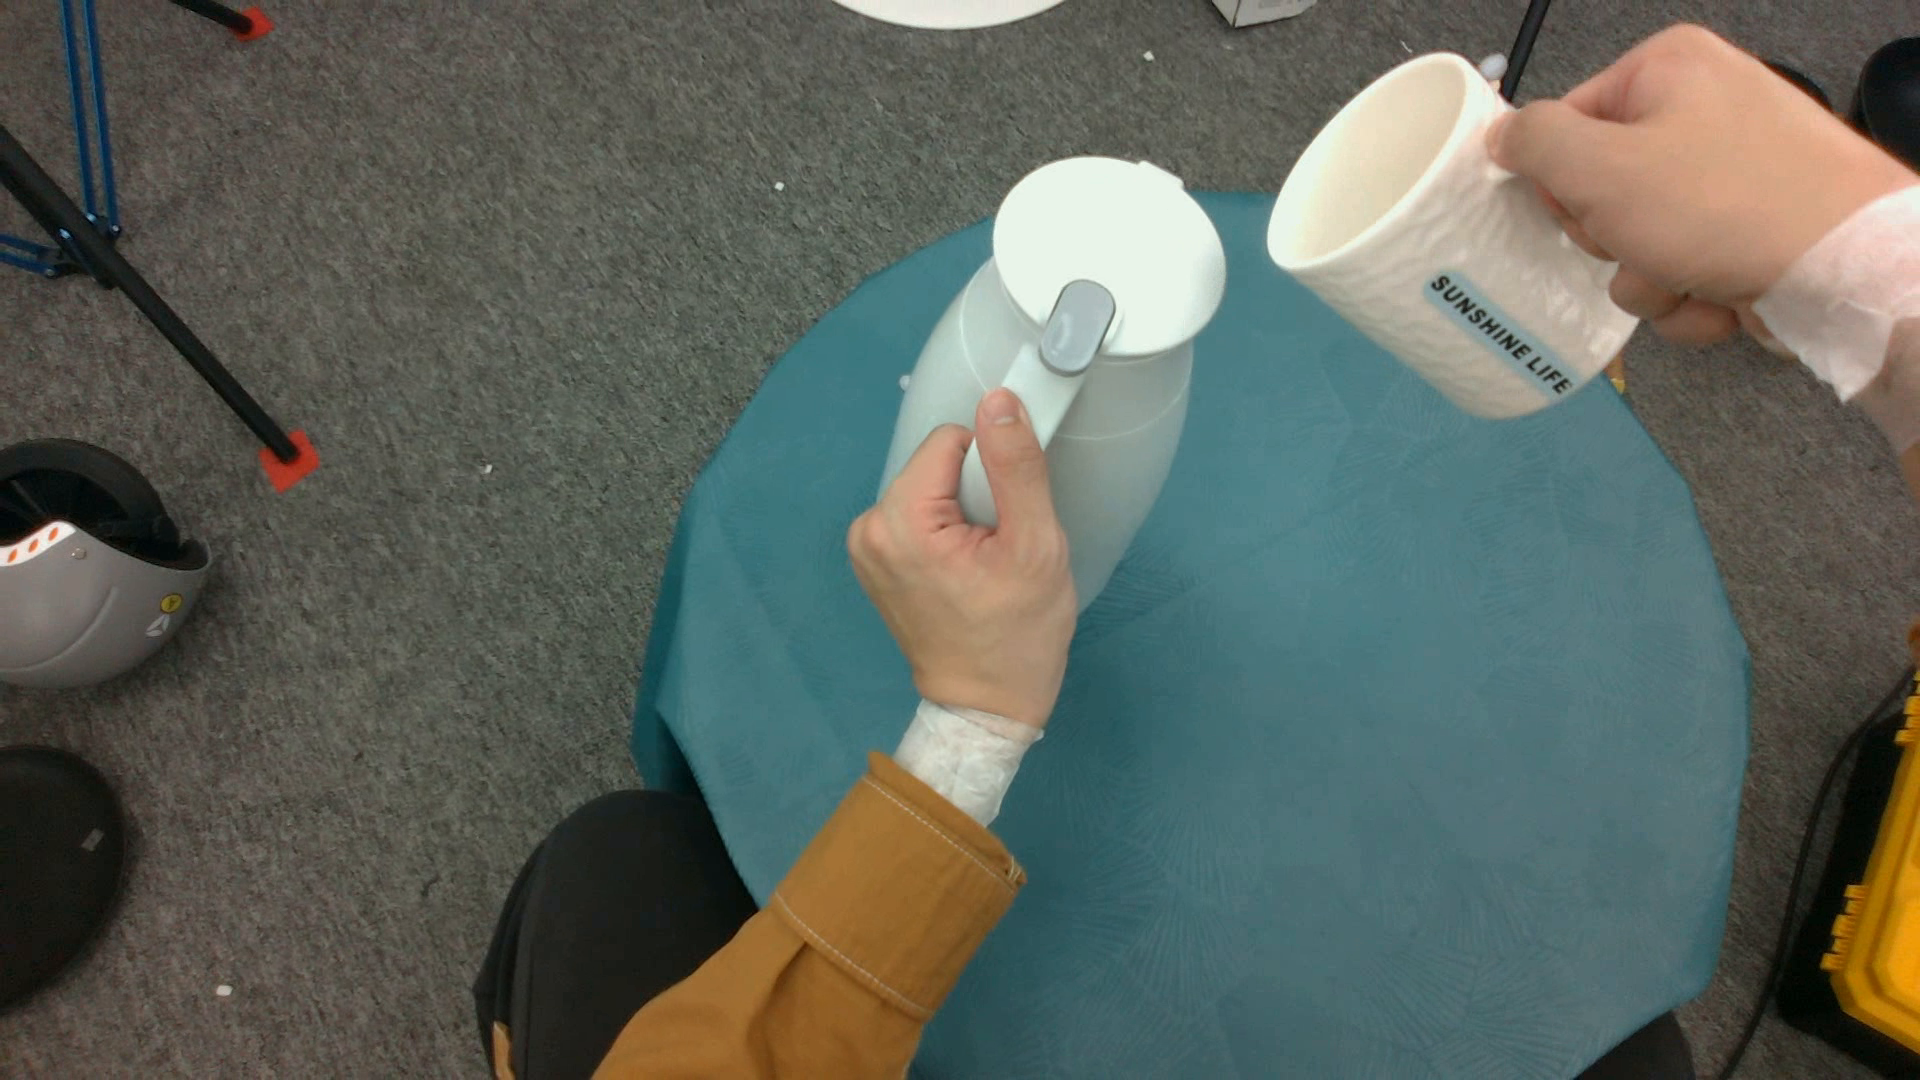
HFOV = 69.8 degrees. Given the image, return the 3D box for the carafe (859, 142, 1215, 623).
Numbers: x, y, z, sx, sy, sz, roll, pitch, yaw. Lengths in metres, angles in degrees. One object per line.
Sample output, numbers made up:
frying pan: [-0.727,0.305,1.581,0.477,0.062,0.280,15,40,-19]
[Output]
carafe: [0.026,-0.052,0.619,0.132,0.247,0.168,27,63,1]

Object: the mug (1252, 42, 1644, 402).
mug: [0.177,-0.108,0.471,0.102,0.118,0.085,32,76,-23]
